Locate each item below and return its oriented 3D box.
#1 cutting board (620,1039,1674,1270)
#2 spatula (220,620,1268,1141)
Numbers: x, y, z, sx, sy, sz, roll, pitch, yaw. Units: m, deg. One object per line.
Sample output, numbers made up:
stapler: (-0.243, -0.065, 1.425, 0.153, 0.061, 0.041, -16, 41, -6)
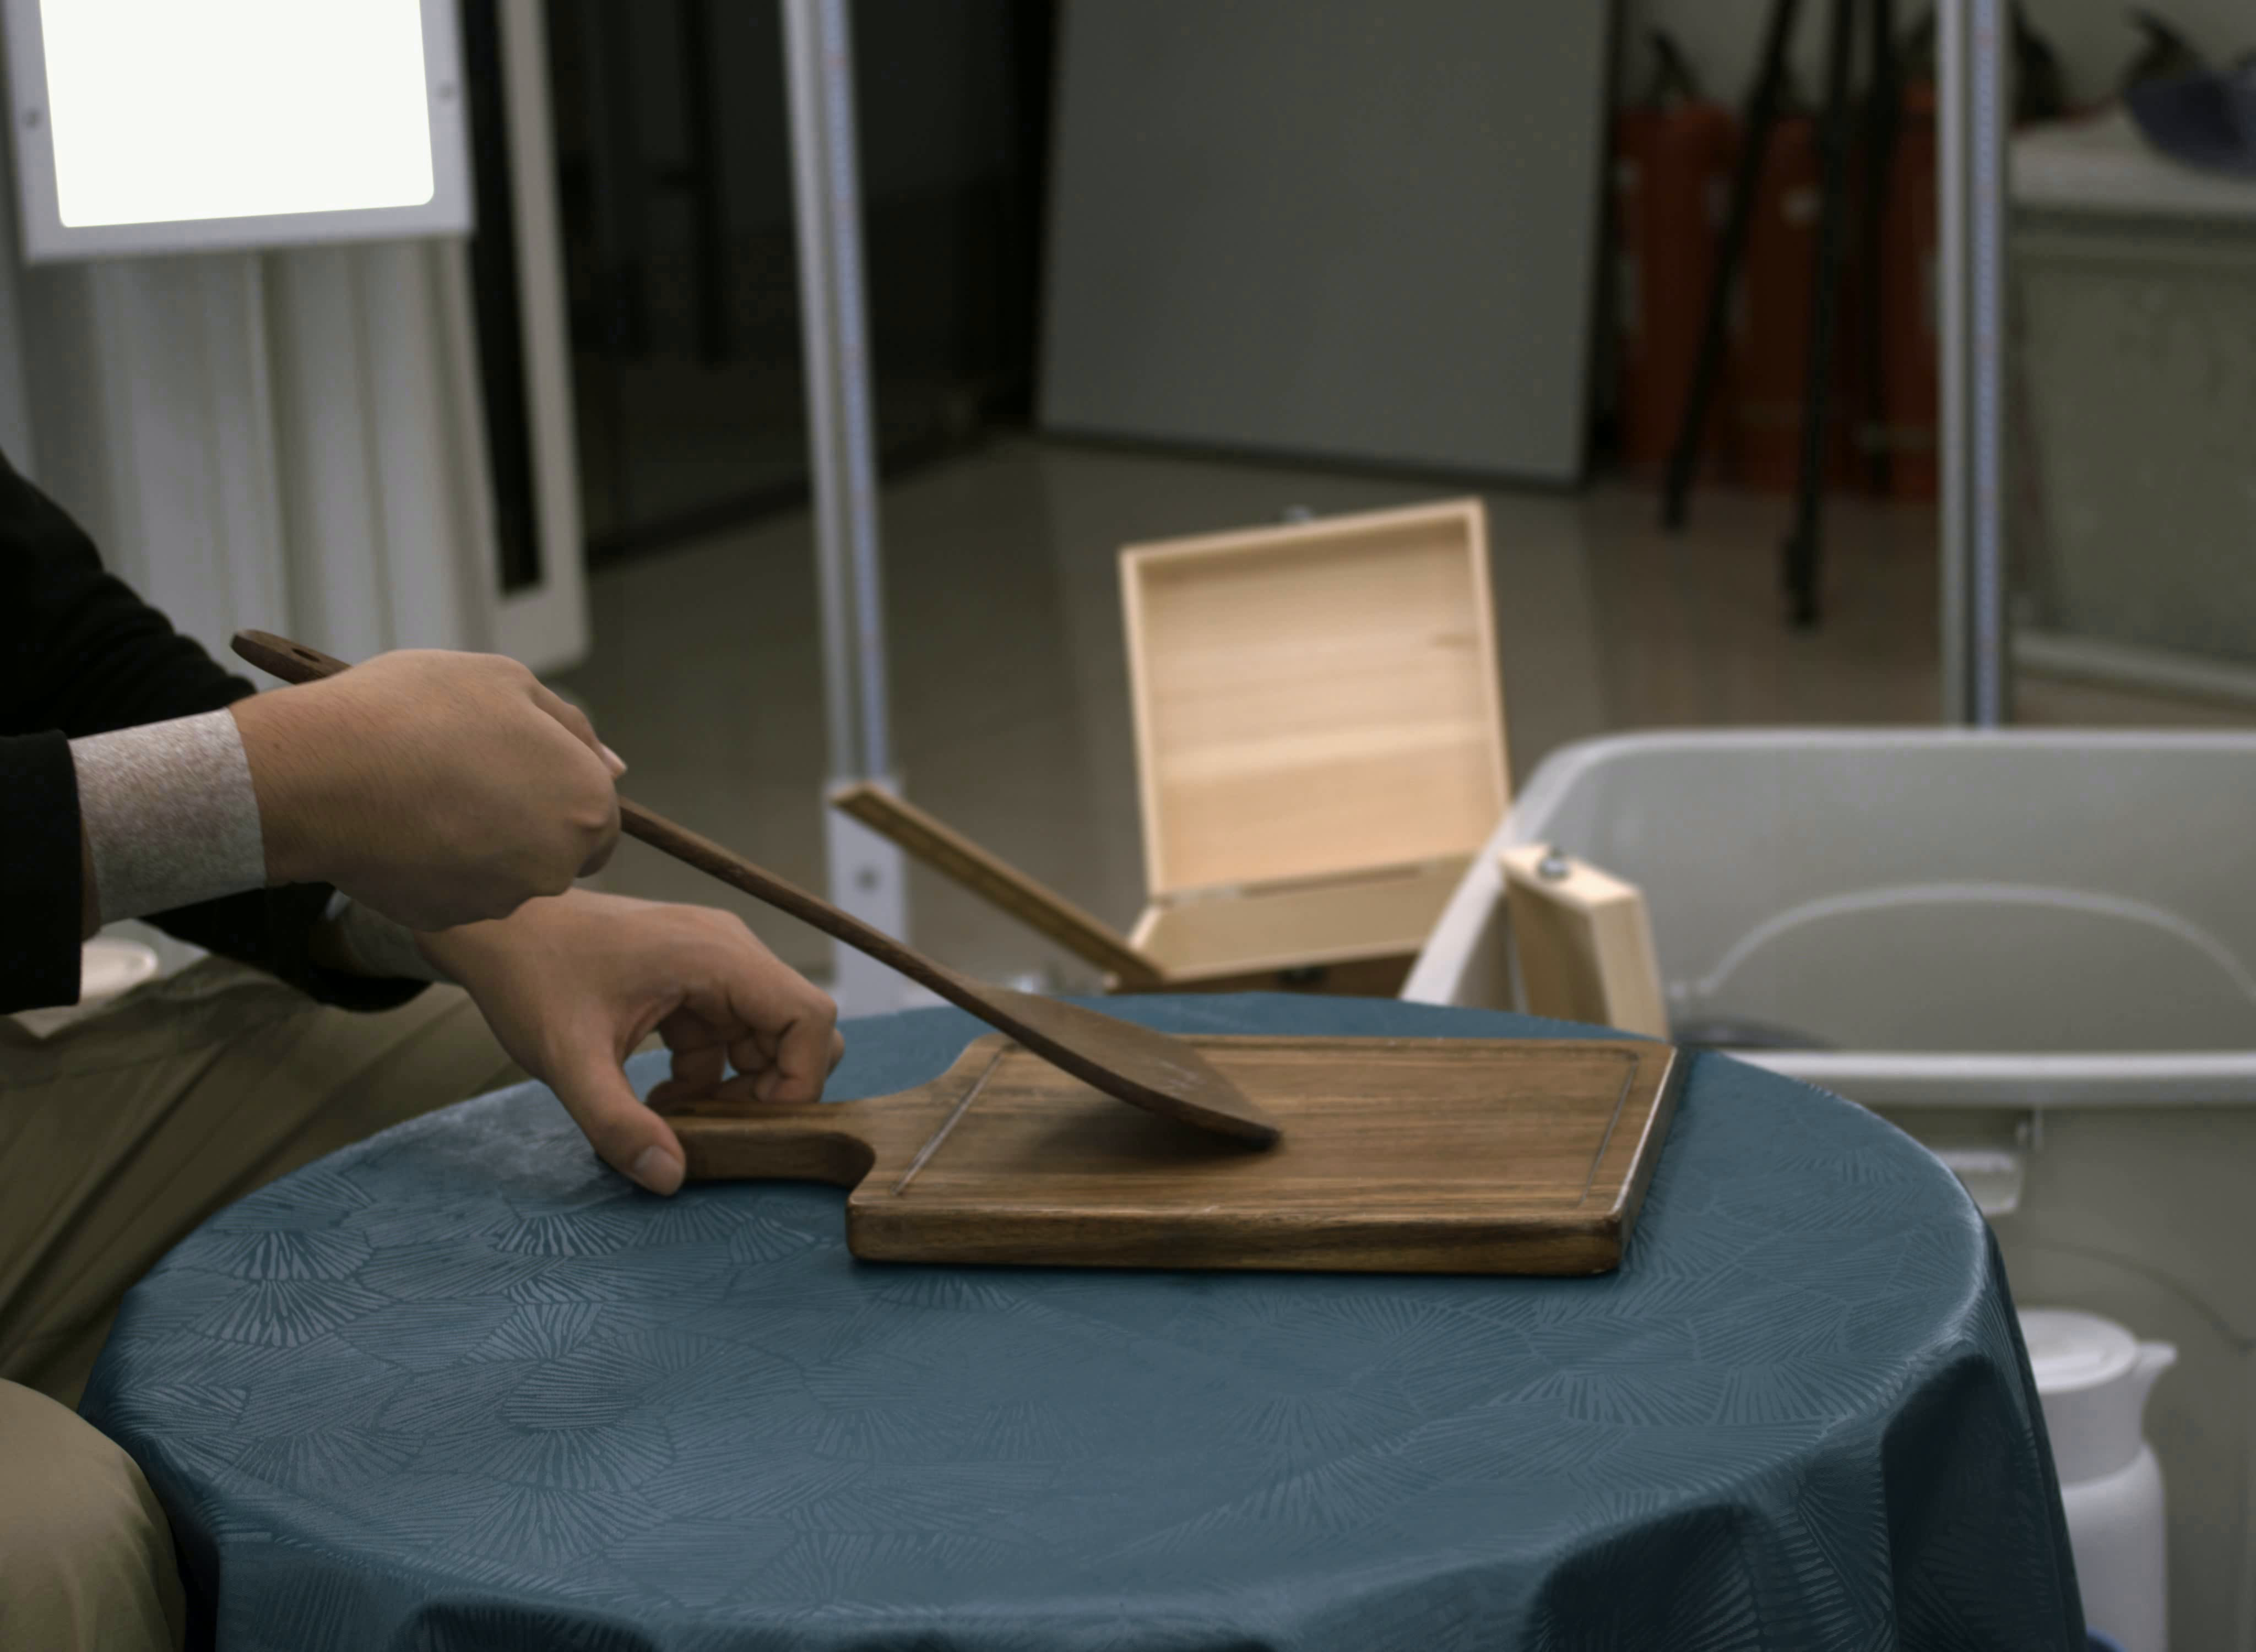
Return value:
cutting board: (0.001, 0.106, 1.781, 0.350, 0.023, 0.200, -1, 14, 13)
spatula: (-0.117, 0.018, 1.718, 0.379, 0.016, 0.097, 28, 5, -23)
